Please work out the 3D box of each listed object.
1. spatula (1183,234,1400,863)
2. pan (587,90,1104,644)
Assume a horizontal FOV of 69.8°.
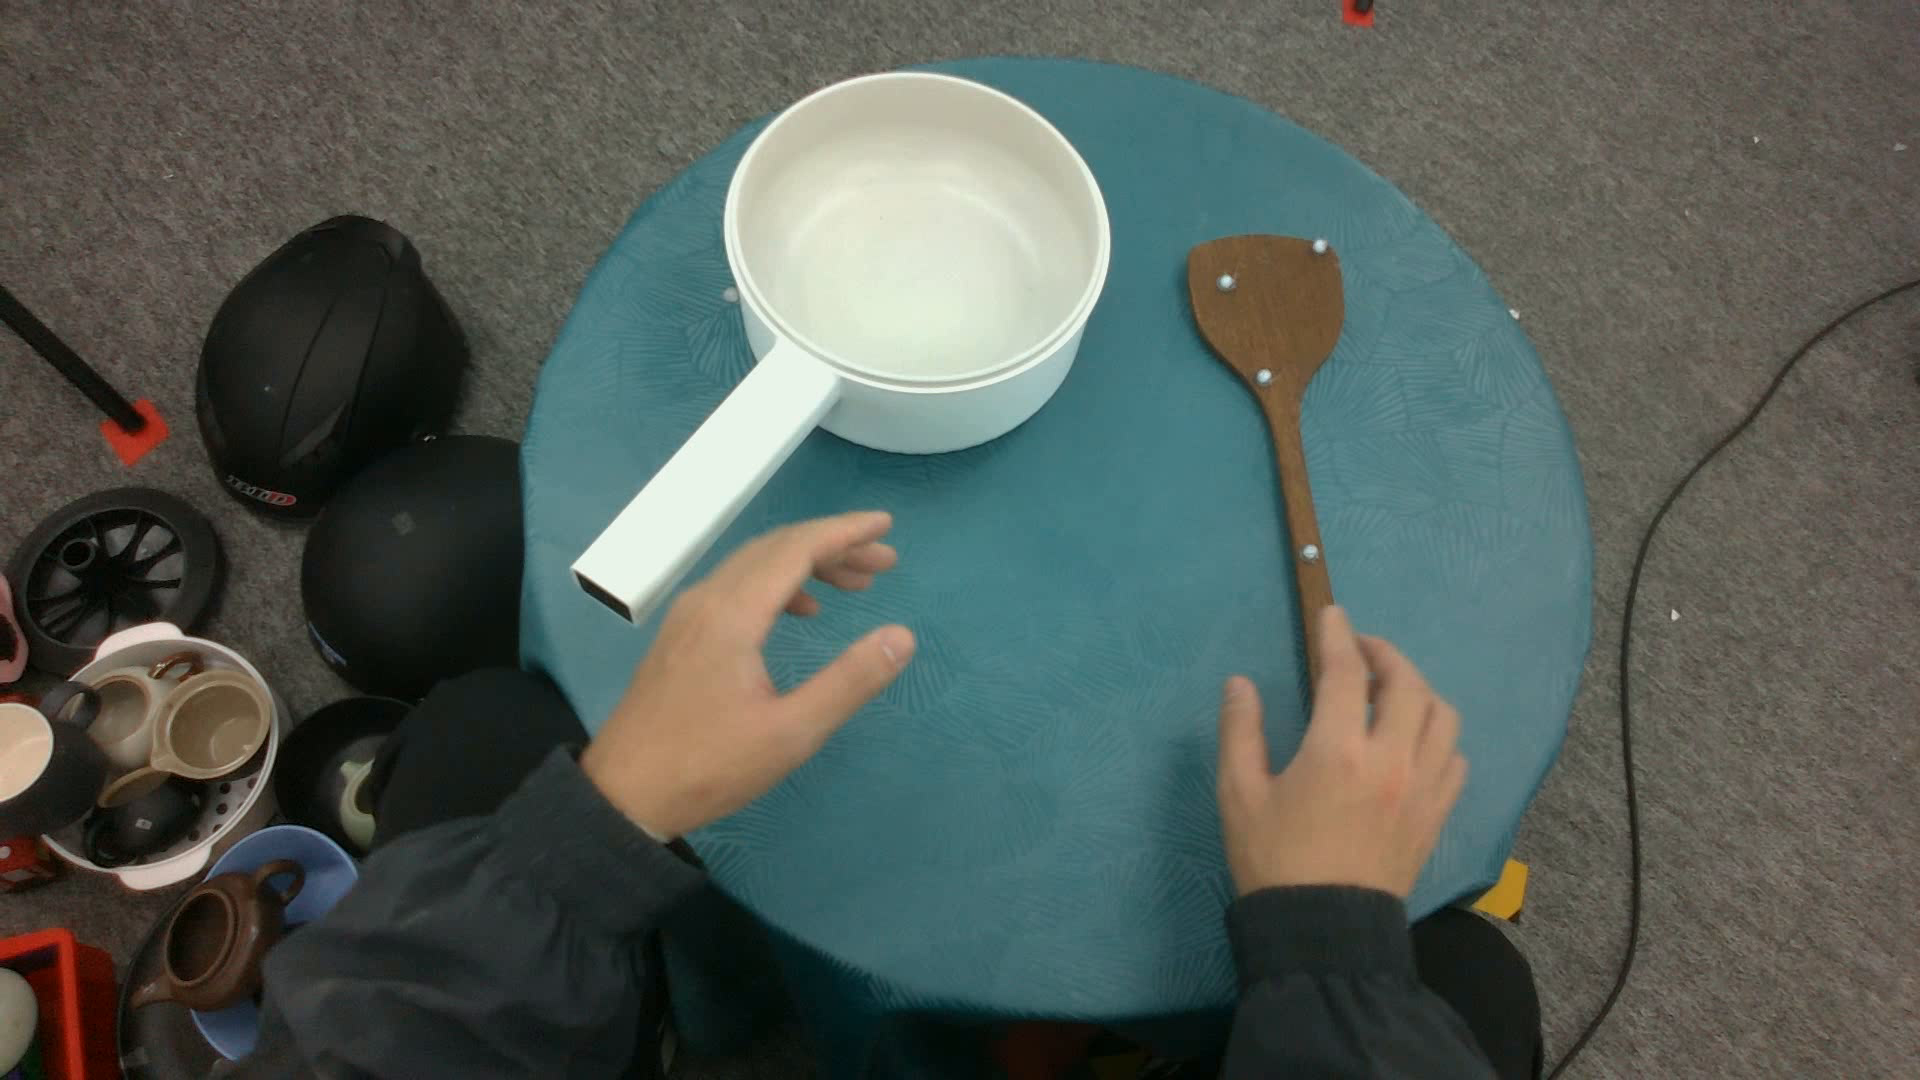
[{"bbox_3d":[0.196,-0.013,0.774,0.096,0.016,0.387,-3,65,-4],"label":"spatula"},{"bbox_3d":[-0.066,-0.084,0.747,0.201,0.101,0.356,31,68,10],"label":"pan"}]
